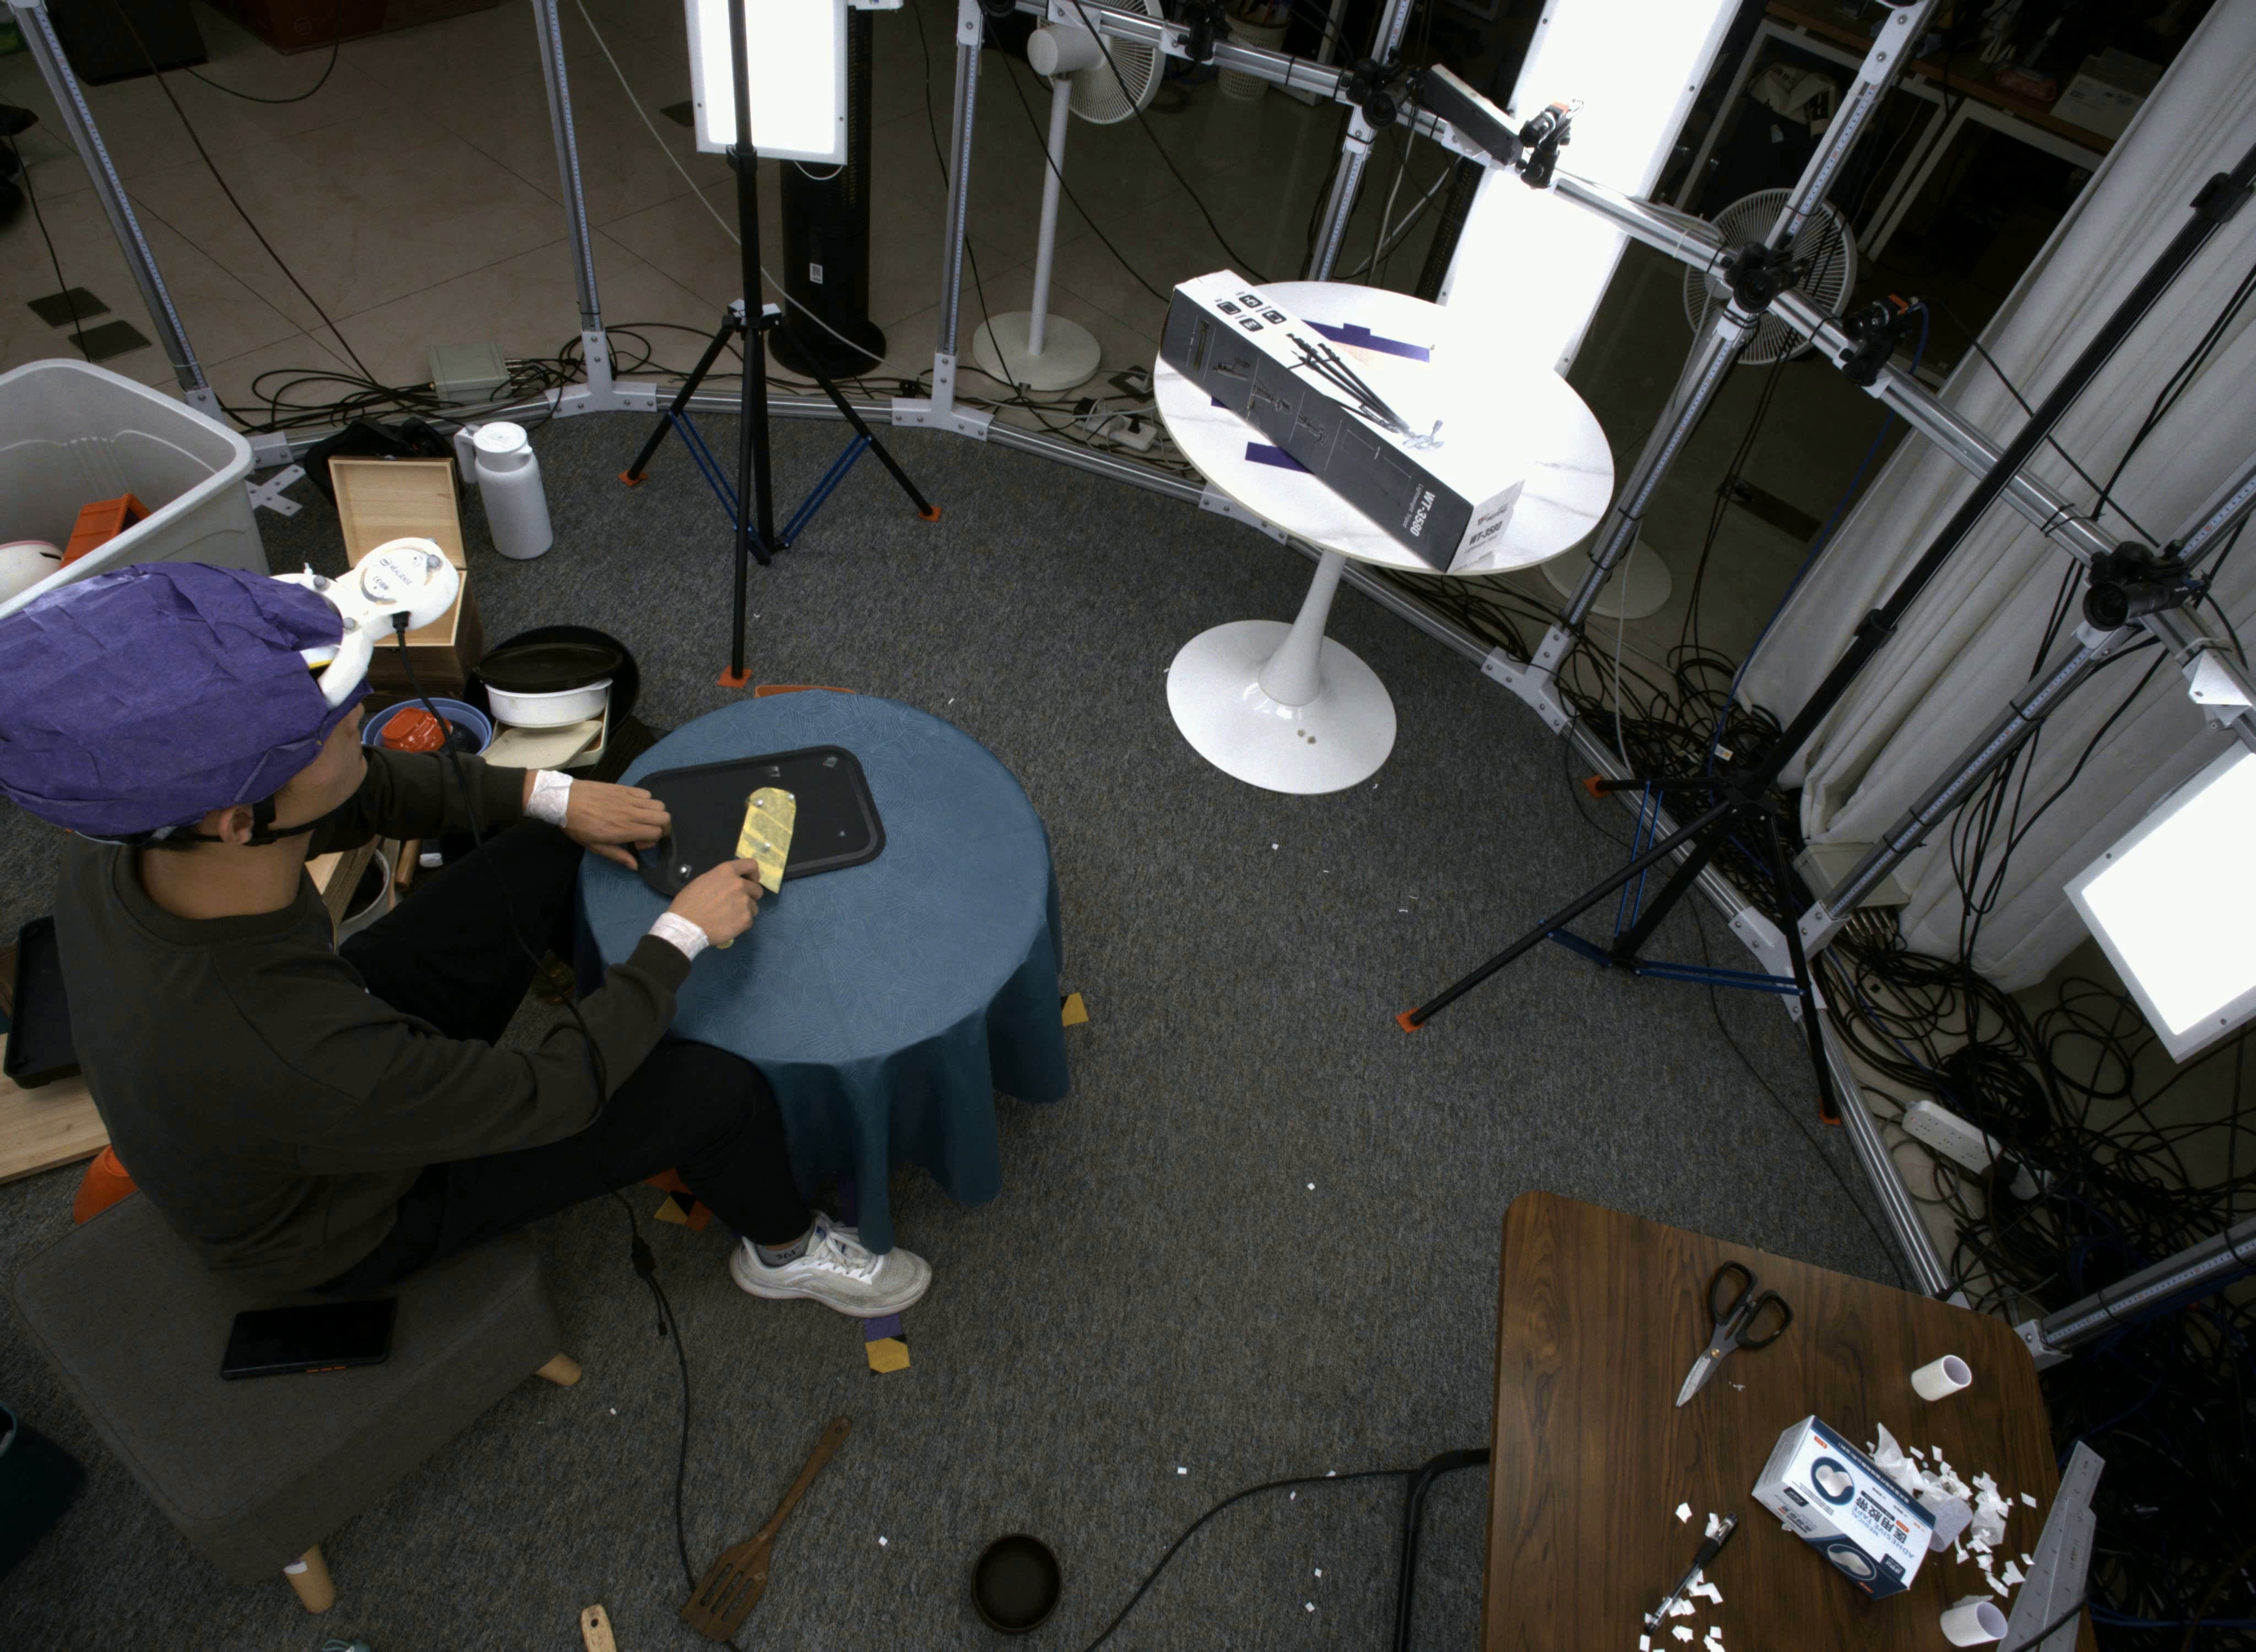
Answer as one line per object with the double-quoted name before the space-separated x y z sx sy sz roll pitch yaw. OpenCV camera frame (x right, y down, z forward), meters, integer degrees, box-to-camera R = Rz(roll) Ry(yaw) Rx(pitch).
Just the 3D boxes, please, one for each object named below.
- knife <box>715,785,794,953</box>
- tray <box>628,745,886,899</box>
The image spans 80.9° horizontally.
"knife" -0.469 0.049 1.636 0.083 0.027 0.284 41 35 -31
"tray" -0.495 -0.010 1.714 0.327 0.010 0.206 -12 58 -24
